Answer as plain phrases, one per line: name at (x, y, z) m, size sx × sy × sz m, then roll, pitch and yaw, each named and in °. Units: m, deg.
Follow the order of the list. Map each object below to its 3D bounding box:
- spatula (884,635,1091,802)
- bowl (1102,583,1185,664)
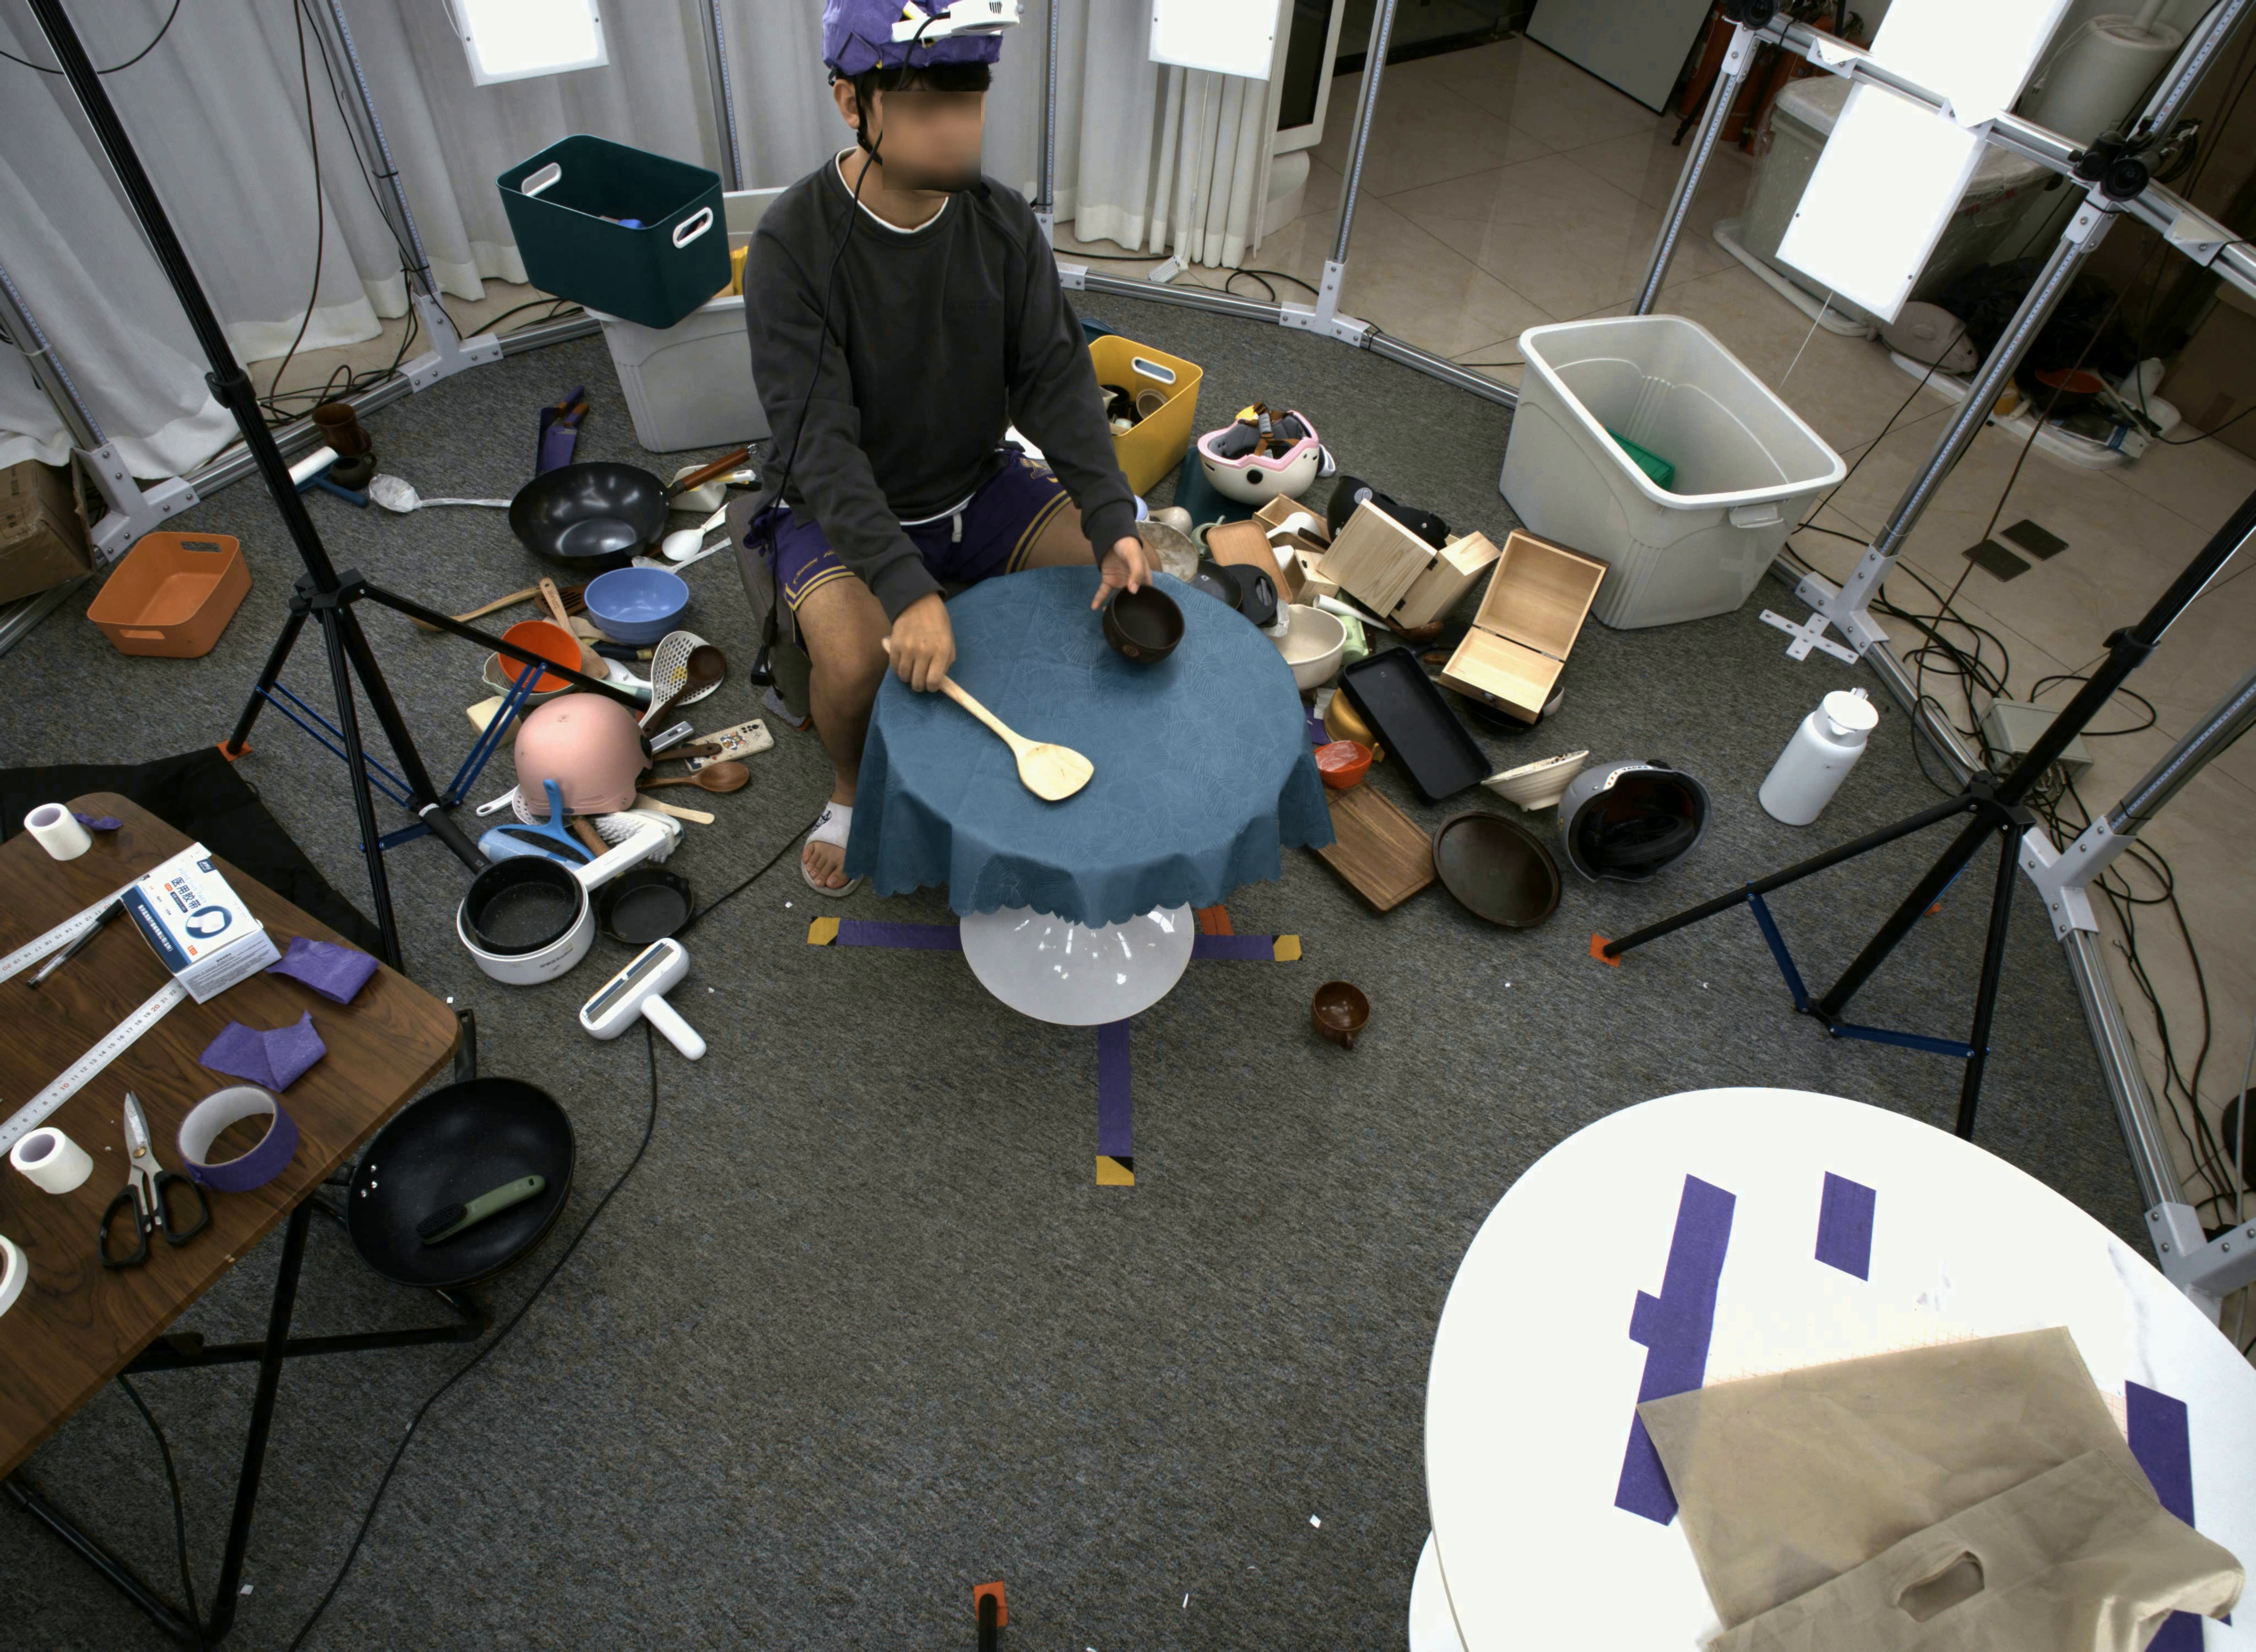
spatula at (-0.210, -0.157, 1.771) m, size 0.396 × 0.018 × 0.096 m, roll 39°, pitch 55°, yaw 24°
bowl at (0.017, -0.286, 1.861) m, size 0.117 × 0.068 × 0.121 m, roll 12°, pitch 55°, yaw -18°
